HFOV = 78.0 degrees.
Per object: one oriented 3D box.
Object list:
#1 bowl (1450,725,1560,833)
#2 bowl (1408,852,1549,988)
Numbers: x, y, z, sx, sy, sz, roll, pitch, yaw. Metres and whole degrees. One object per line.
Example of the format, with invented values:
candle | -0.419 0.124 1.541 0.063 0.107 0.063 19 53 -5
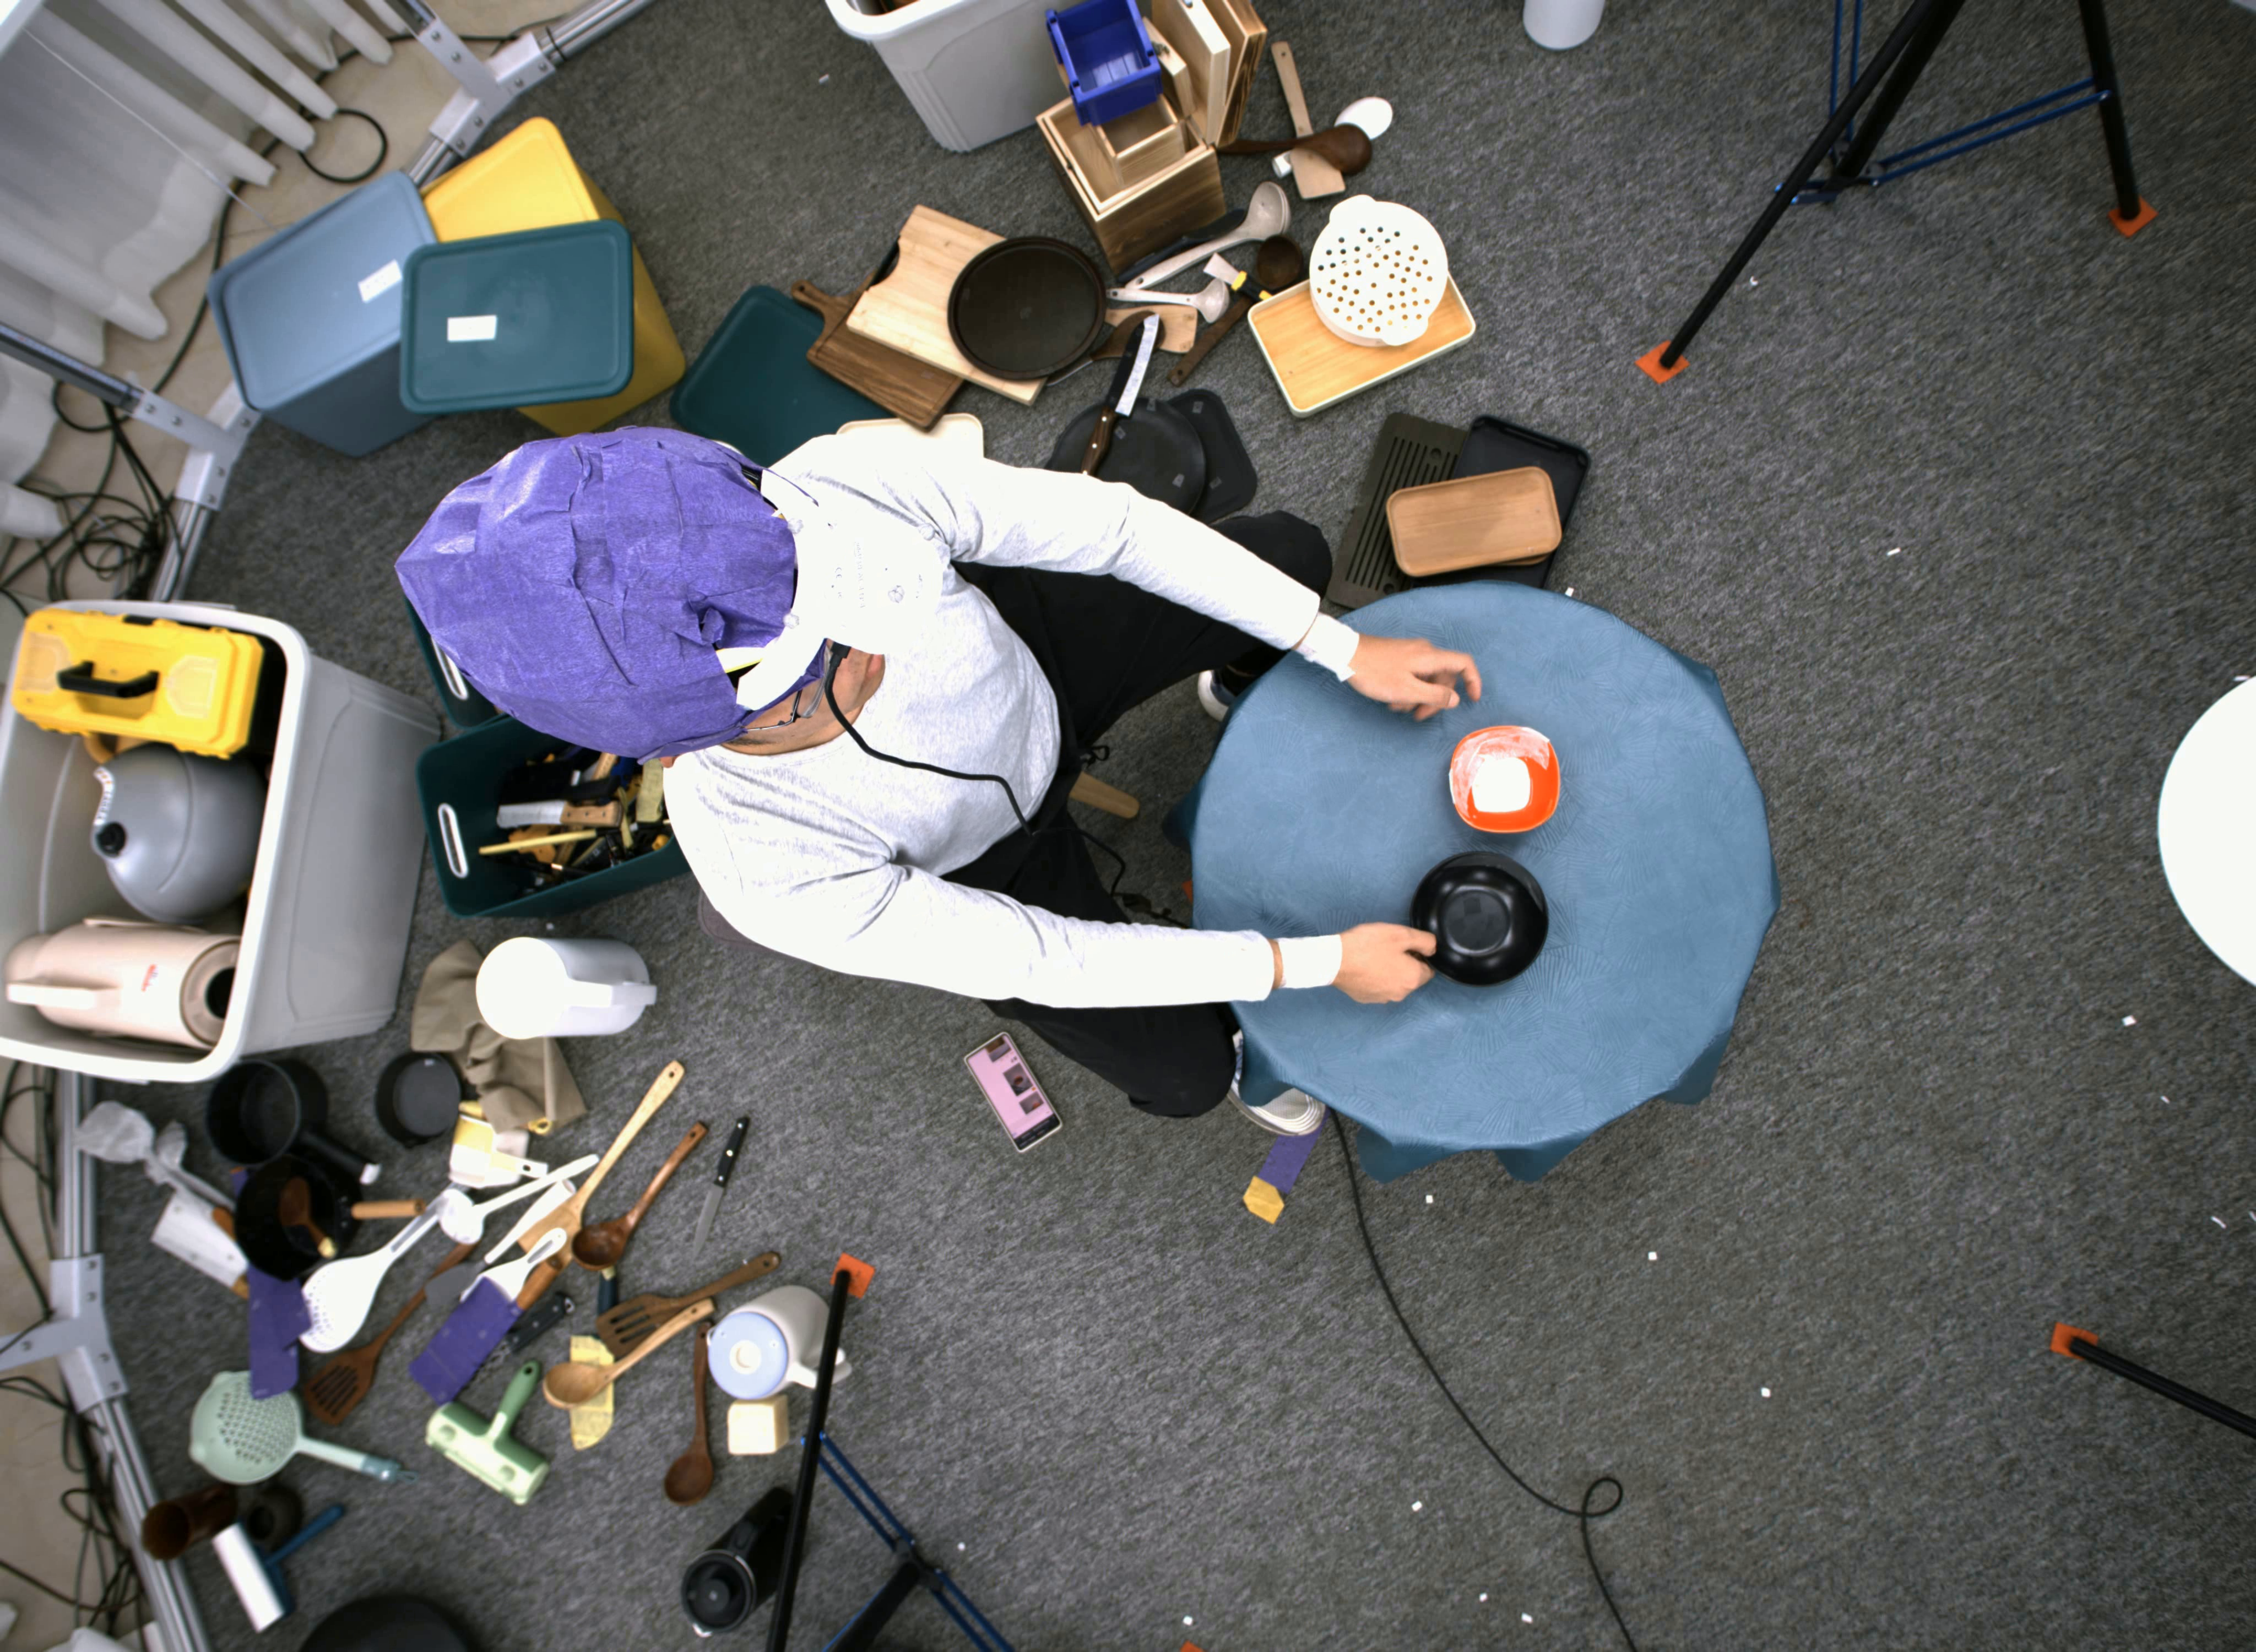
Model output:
bowl | 0.386 -0.048 1.417 0.119 0.051 0.118 -1 87 8
bowl | 0.360 0.096 1.418 0.140 0.050 0.139 -1 85 13
